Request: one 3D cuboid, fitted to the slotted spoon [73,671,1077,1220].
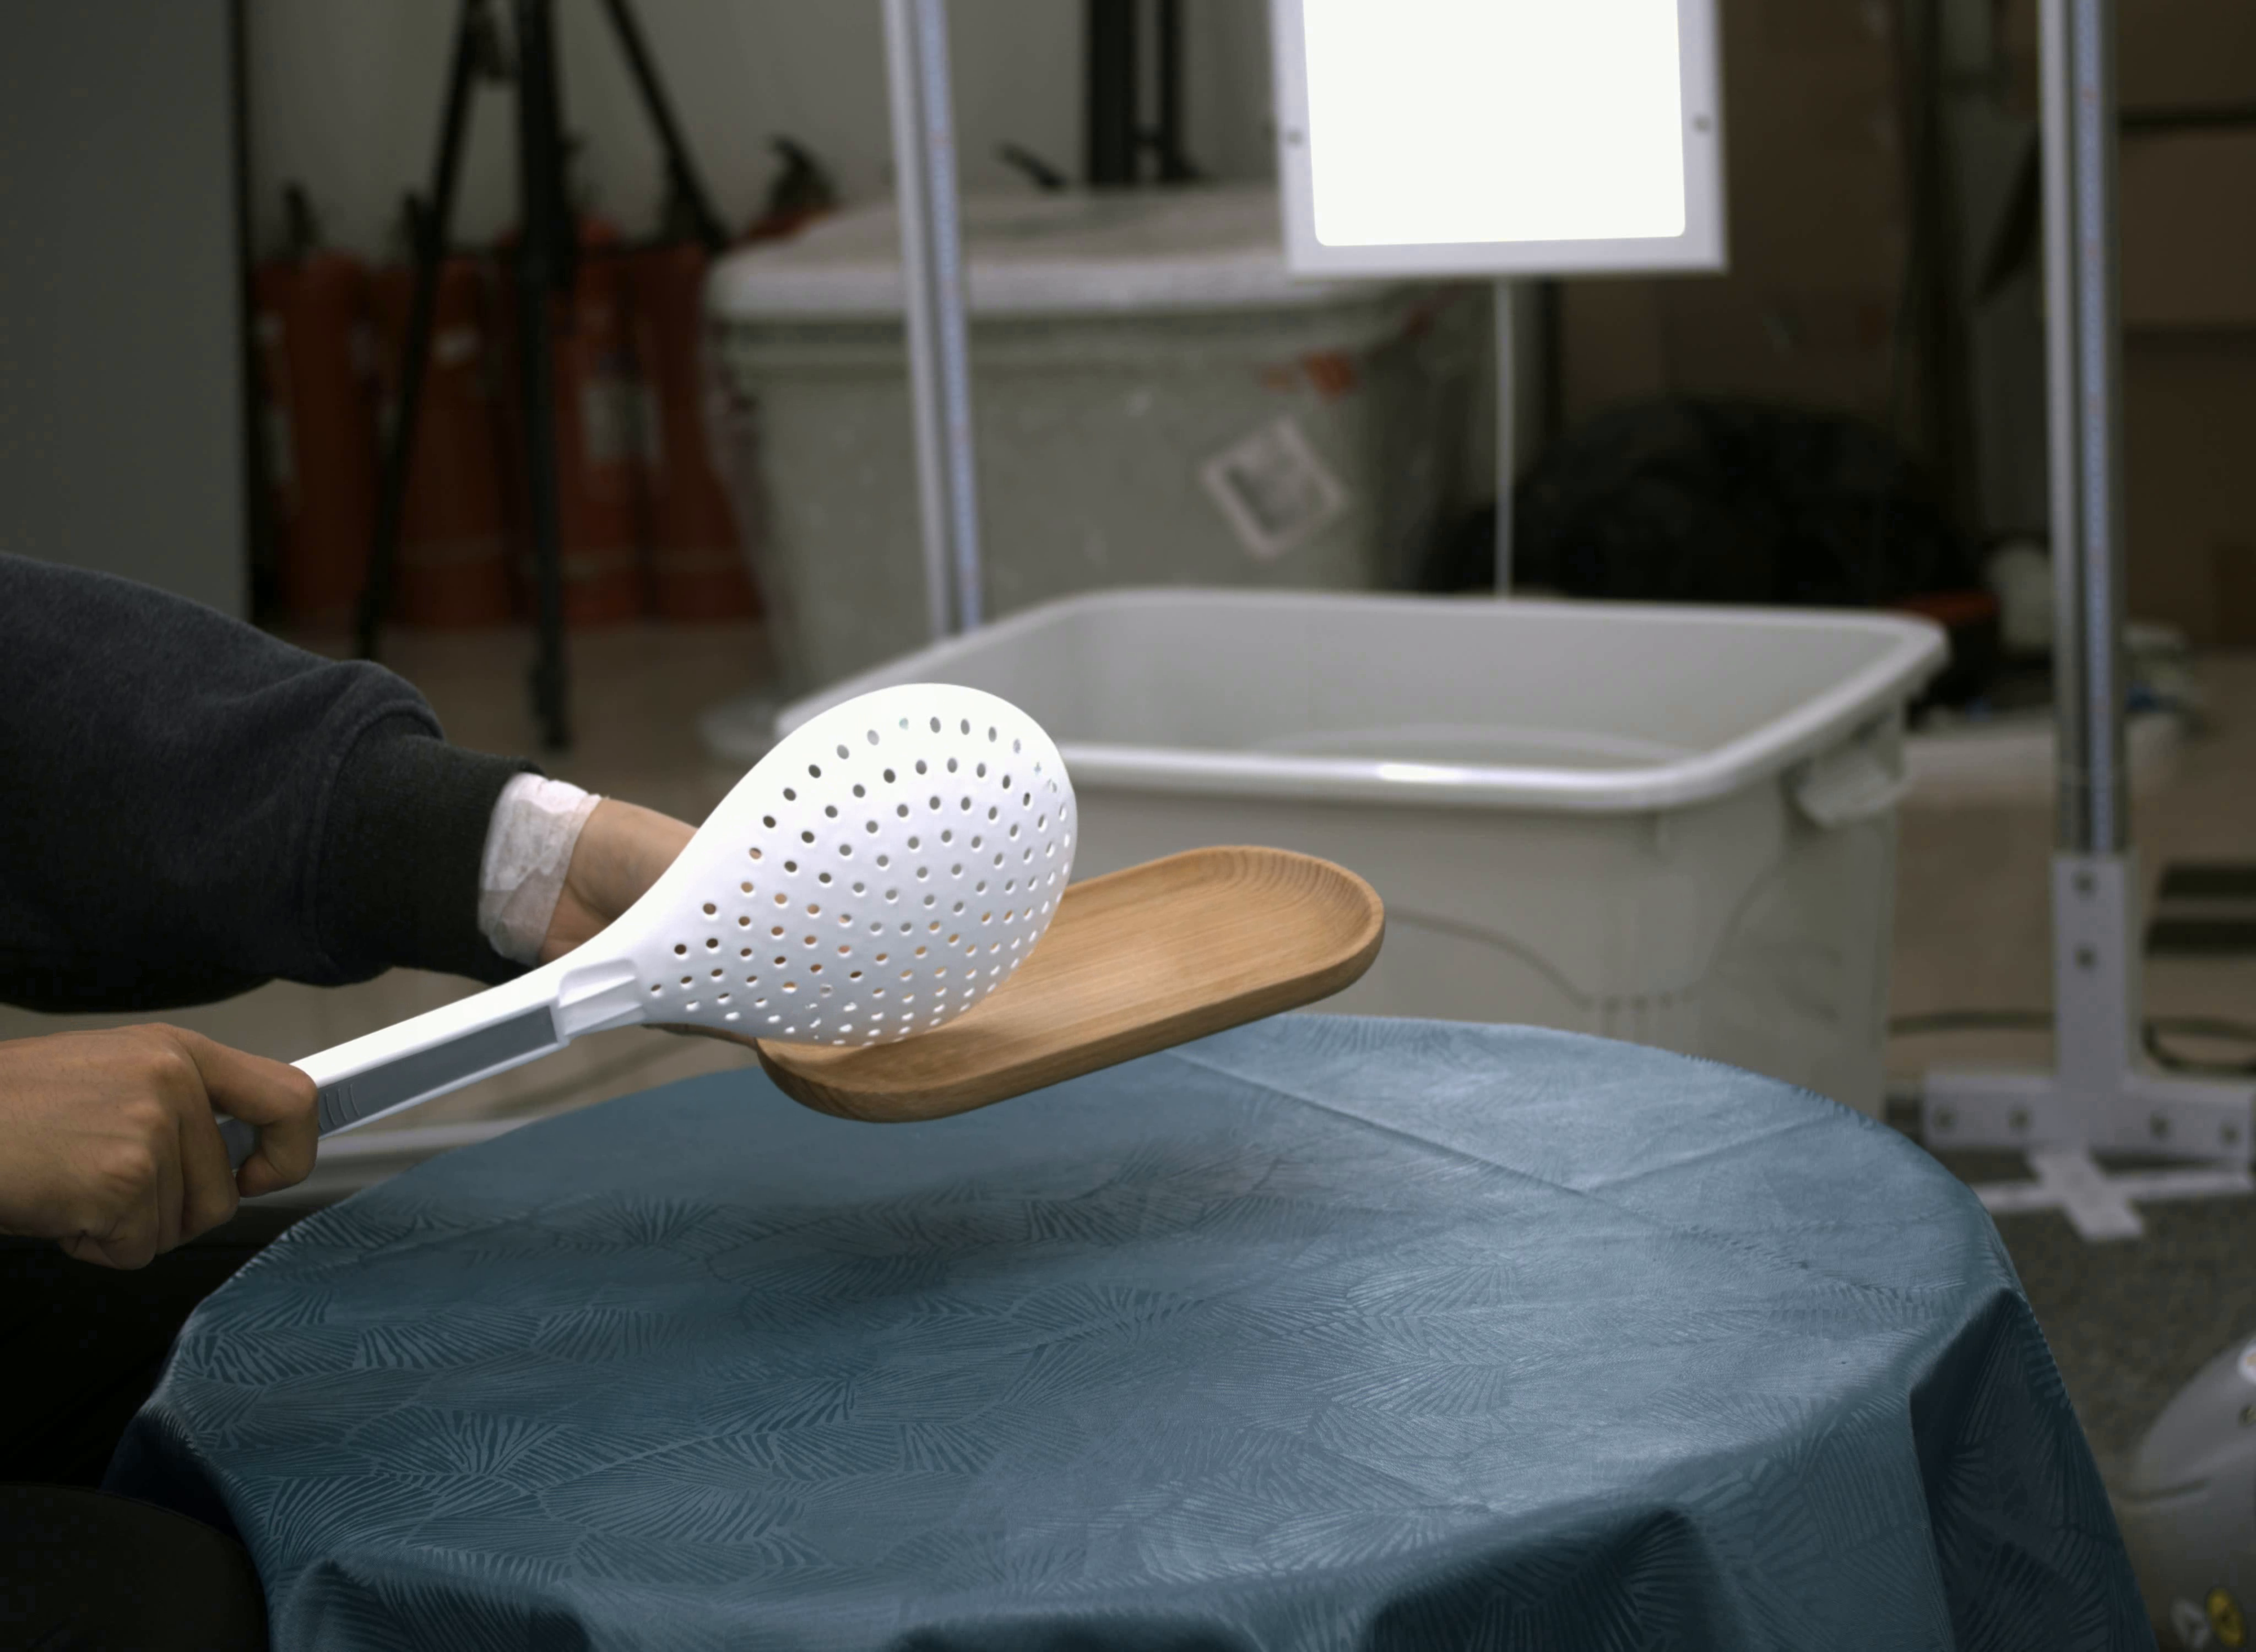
[{"bbox_3d":[-0.172,0.051,1.774,0.346,0.136,0.046,-18,34,-10],"label":"slotted spoon"}]

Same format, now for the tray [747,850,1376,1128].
[{"bbox_3d":[-0.021,0.055,1.865,0.226,0.020,0.103,-18,30,-24],"label":"tray"}]
